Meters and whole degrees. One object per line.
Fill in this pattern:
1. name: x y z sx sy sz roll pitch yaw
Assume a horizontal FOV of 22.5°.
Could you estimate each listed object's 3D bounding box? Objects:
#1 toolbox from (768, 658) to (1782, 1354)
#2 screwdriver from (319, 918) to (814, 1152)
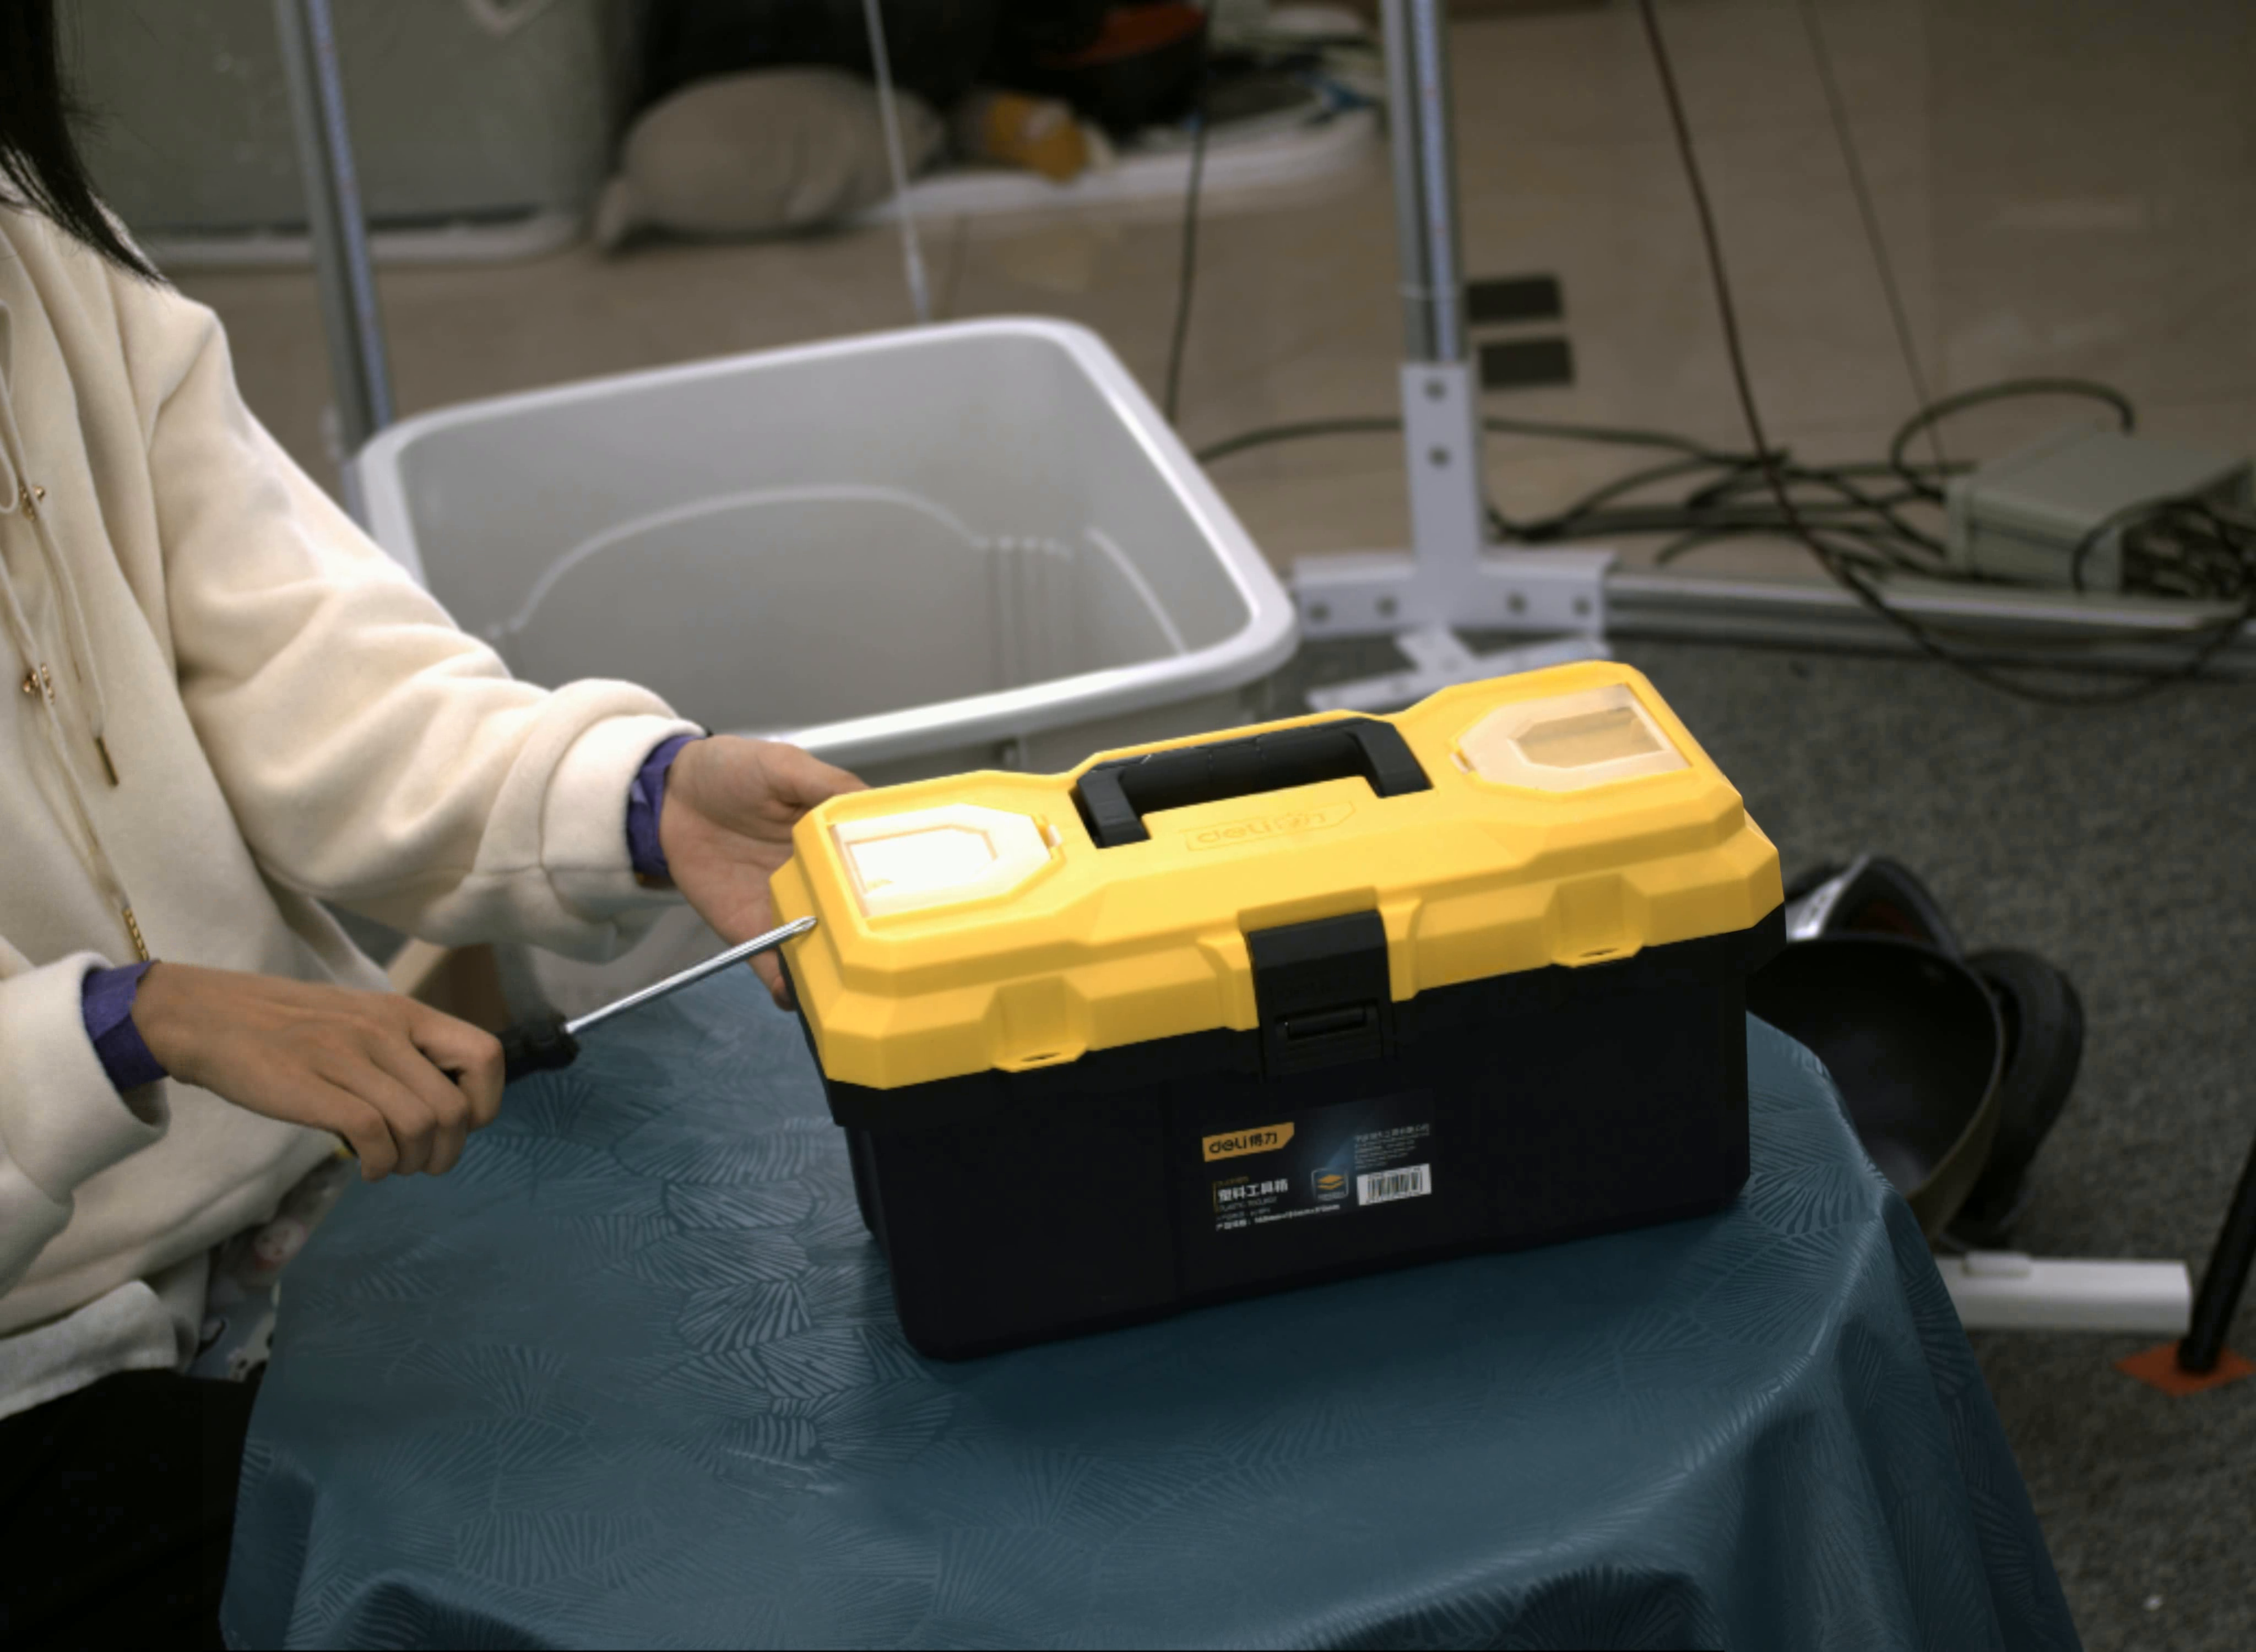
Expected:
1. toolbox: 0.055 0.066 2.082 0.351 0.175 0.179 -10 25 -8
2. screwdriver: -0.203 0.070 2.038 0.196 0.032 0.031 -24 23 11
